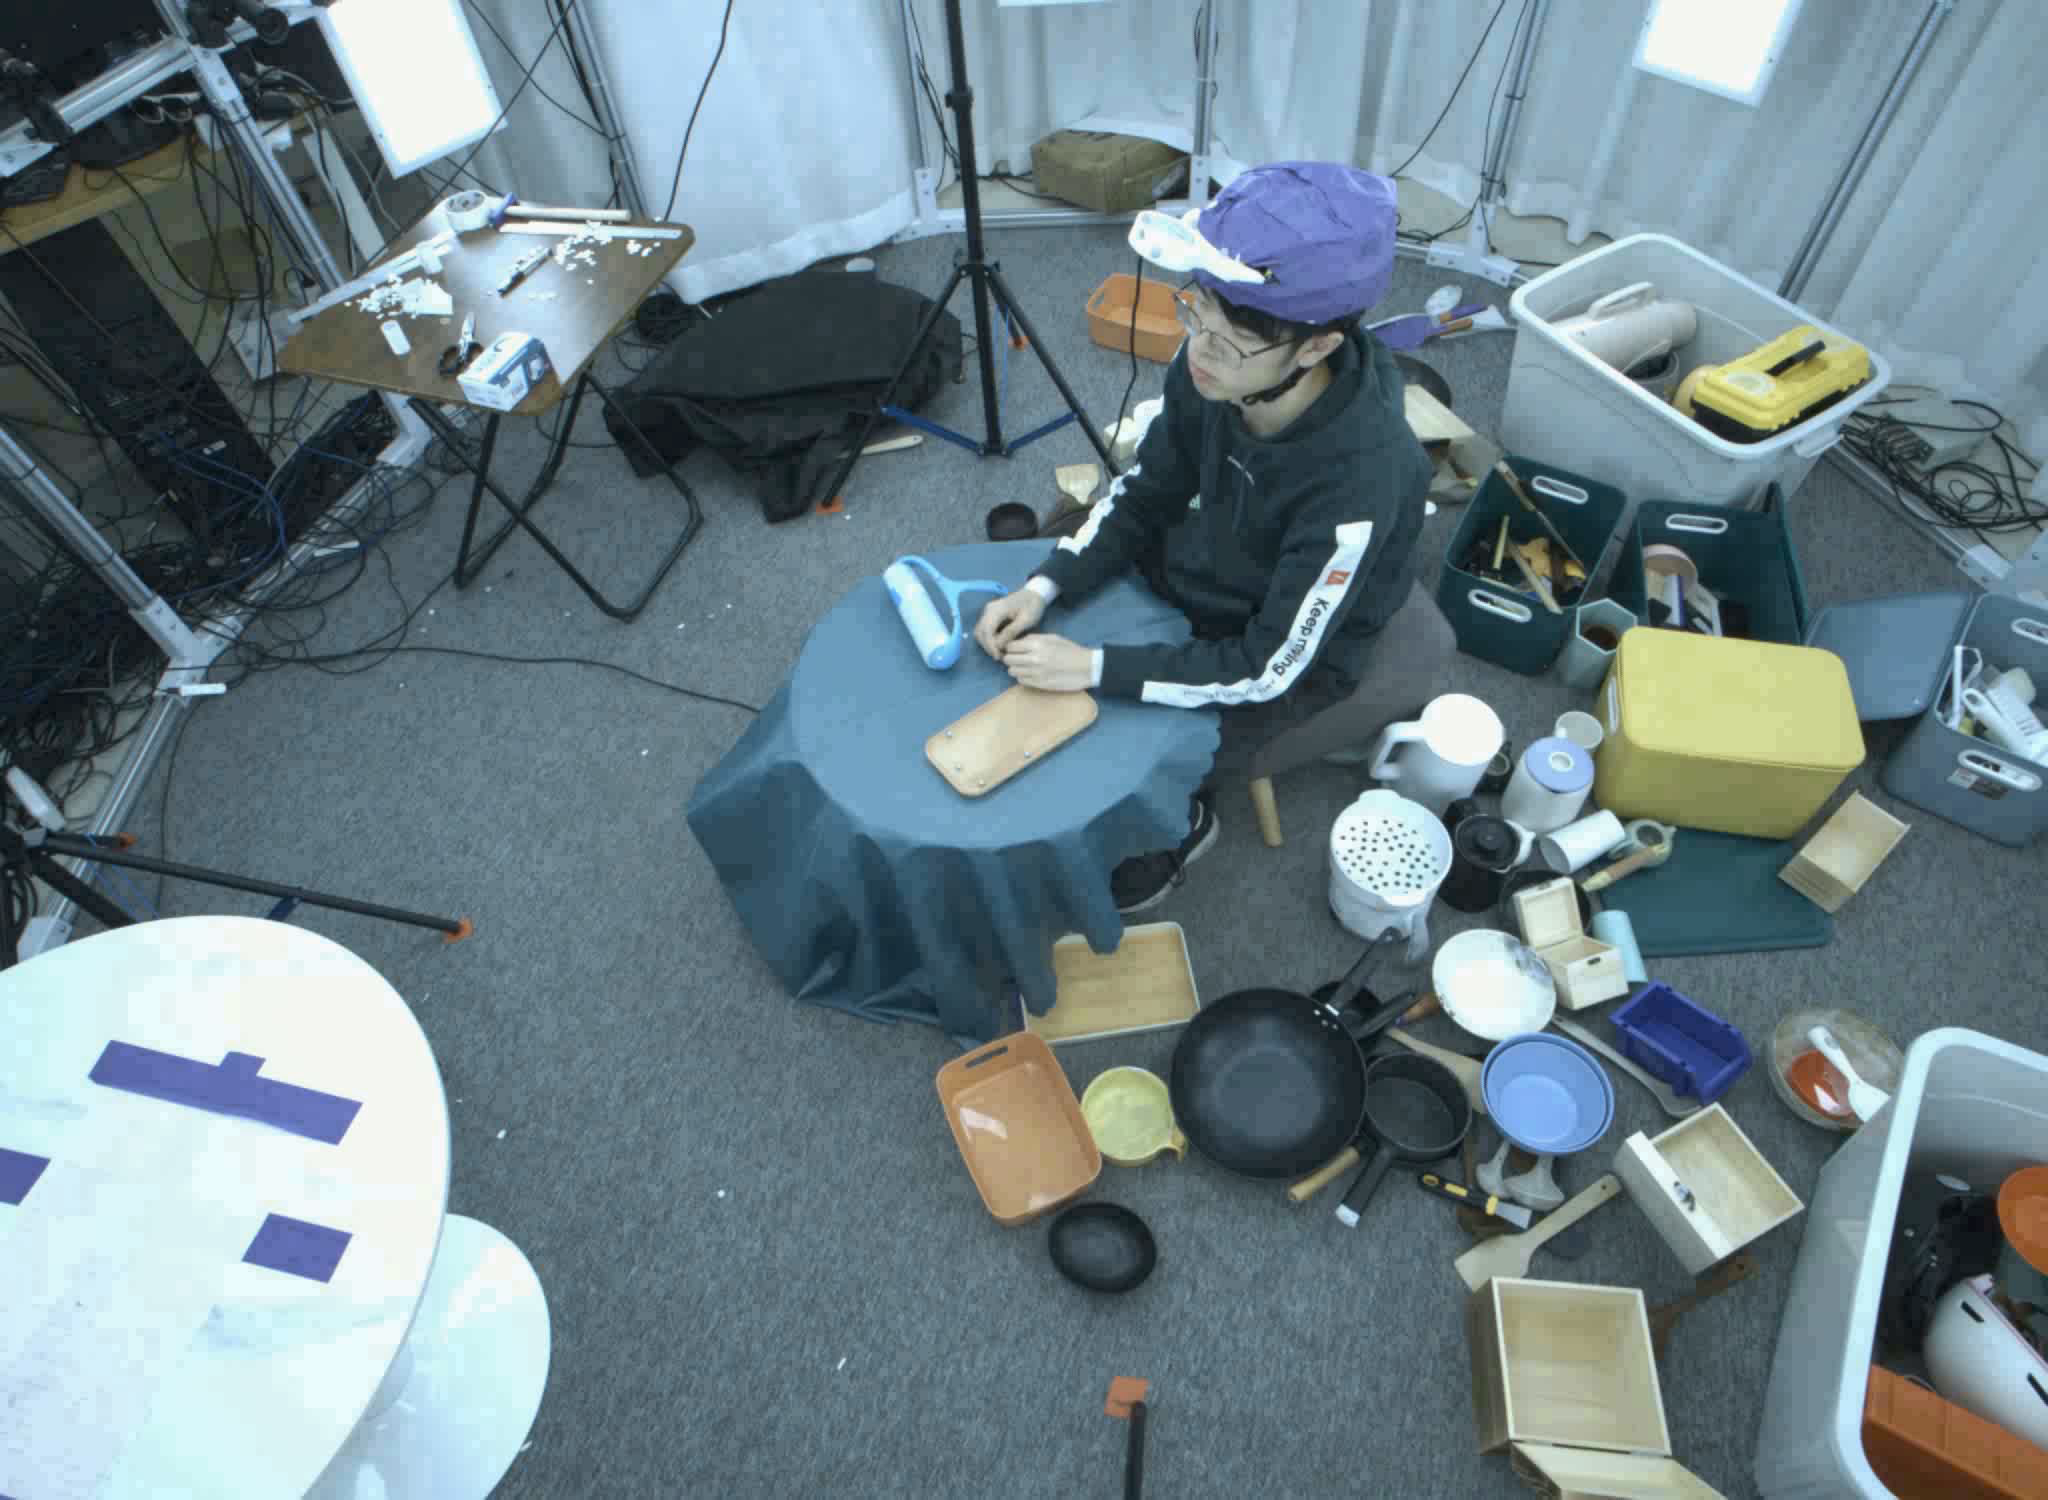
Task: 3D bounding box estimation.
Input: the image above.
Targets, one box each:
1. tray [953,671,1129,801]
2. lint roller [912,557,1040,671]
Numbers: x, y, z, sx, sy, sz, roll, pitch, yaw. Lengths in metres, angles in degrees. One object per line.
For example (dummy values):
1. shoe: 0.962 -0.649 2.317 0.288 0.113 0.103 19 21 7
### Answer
1. tray: 0.025 -0.022 1.787 0.253 0.023 0.128 -30 61 -19
2. lint roller: -0.063 -0.232 1.915 0.181 0.069 0.224 -23 55 -12
